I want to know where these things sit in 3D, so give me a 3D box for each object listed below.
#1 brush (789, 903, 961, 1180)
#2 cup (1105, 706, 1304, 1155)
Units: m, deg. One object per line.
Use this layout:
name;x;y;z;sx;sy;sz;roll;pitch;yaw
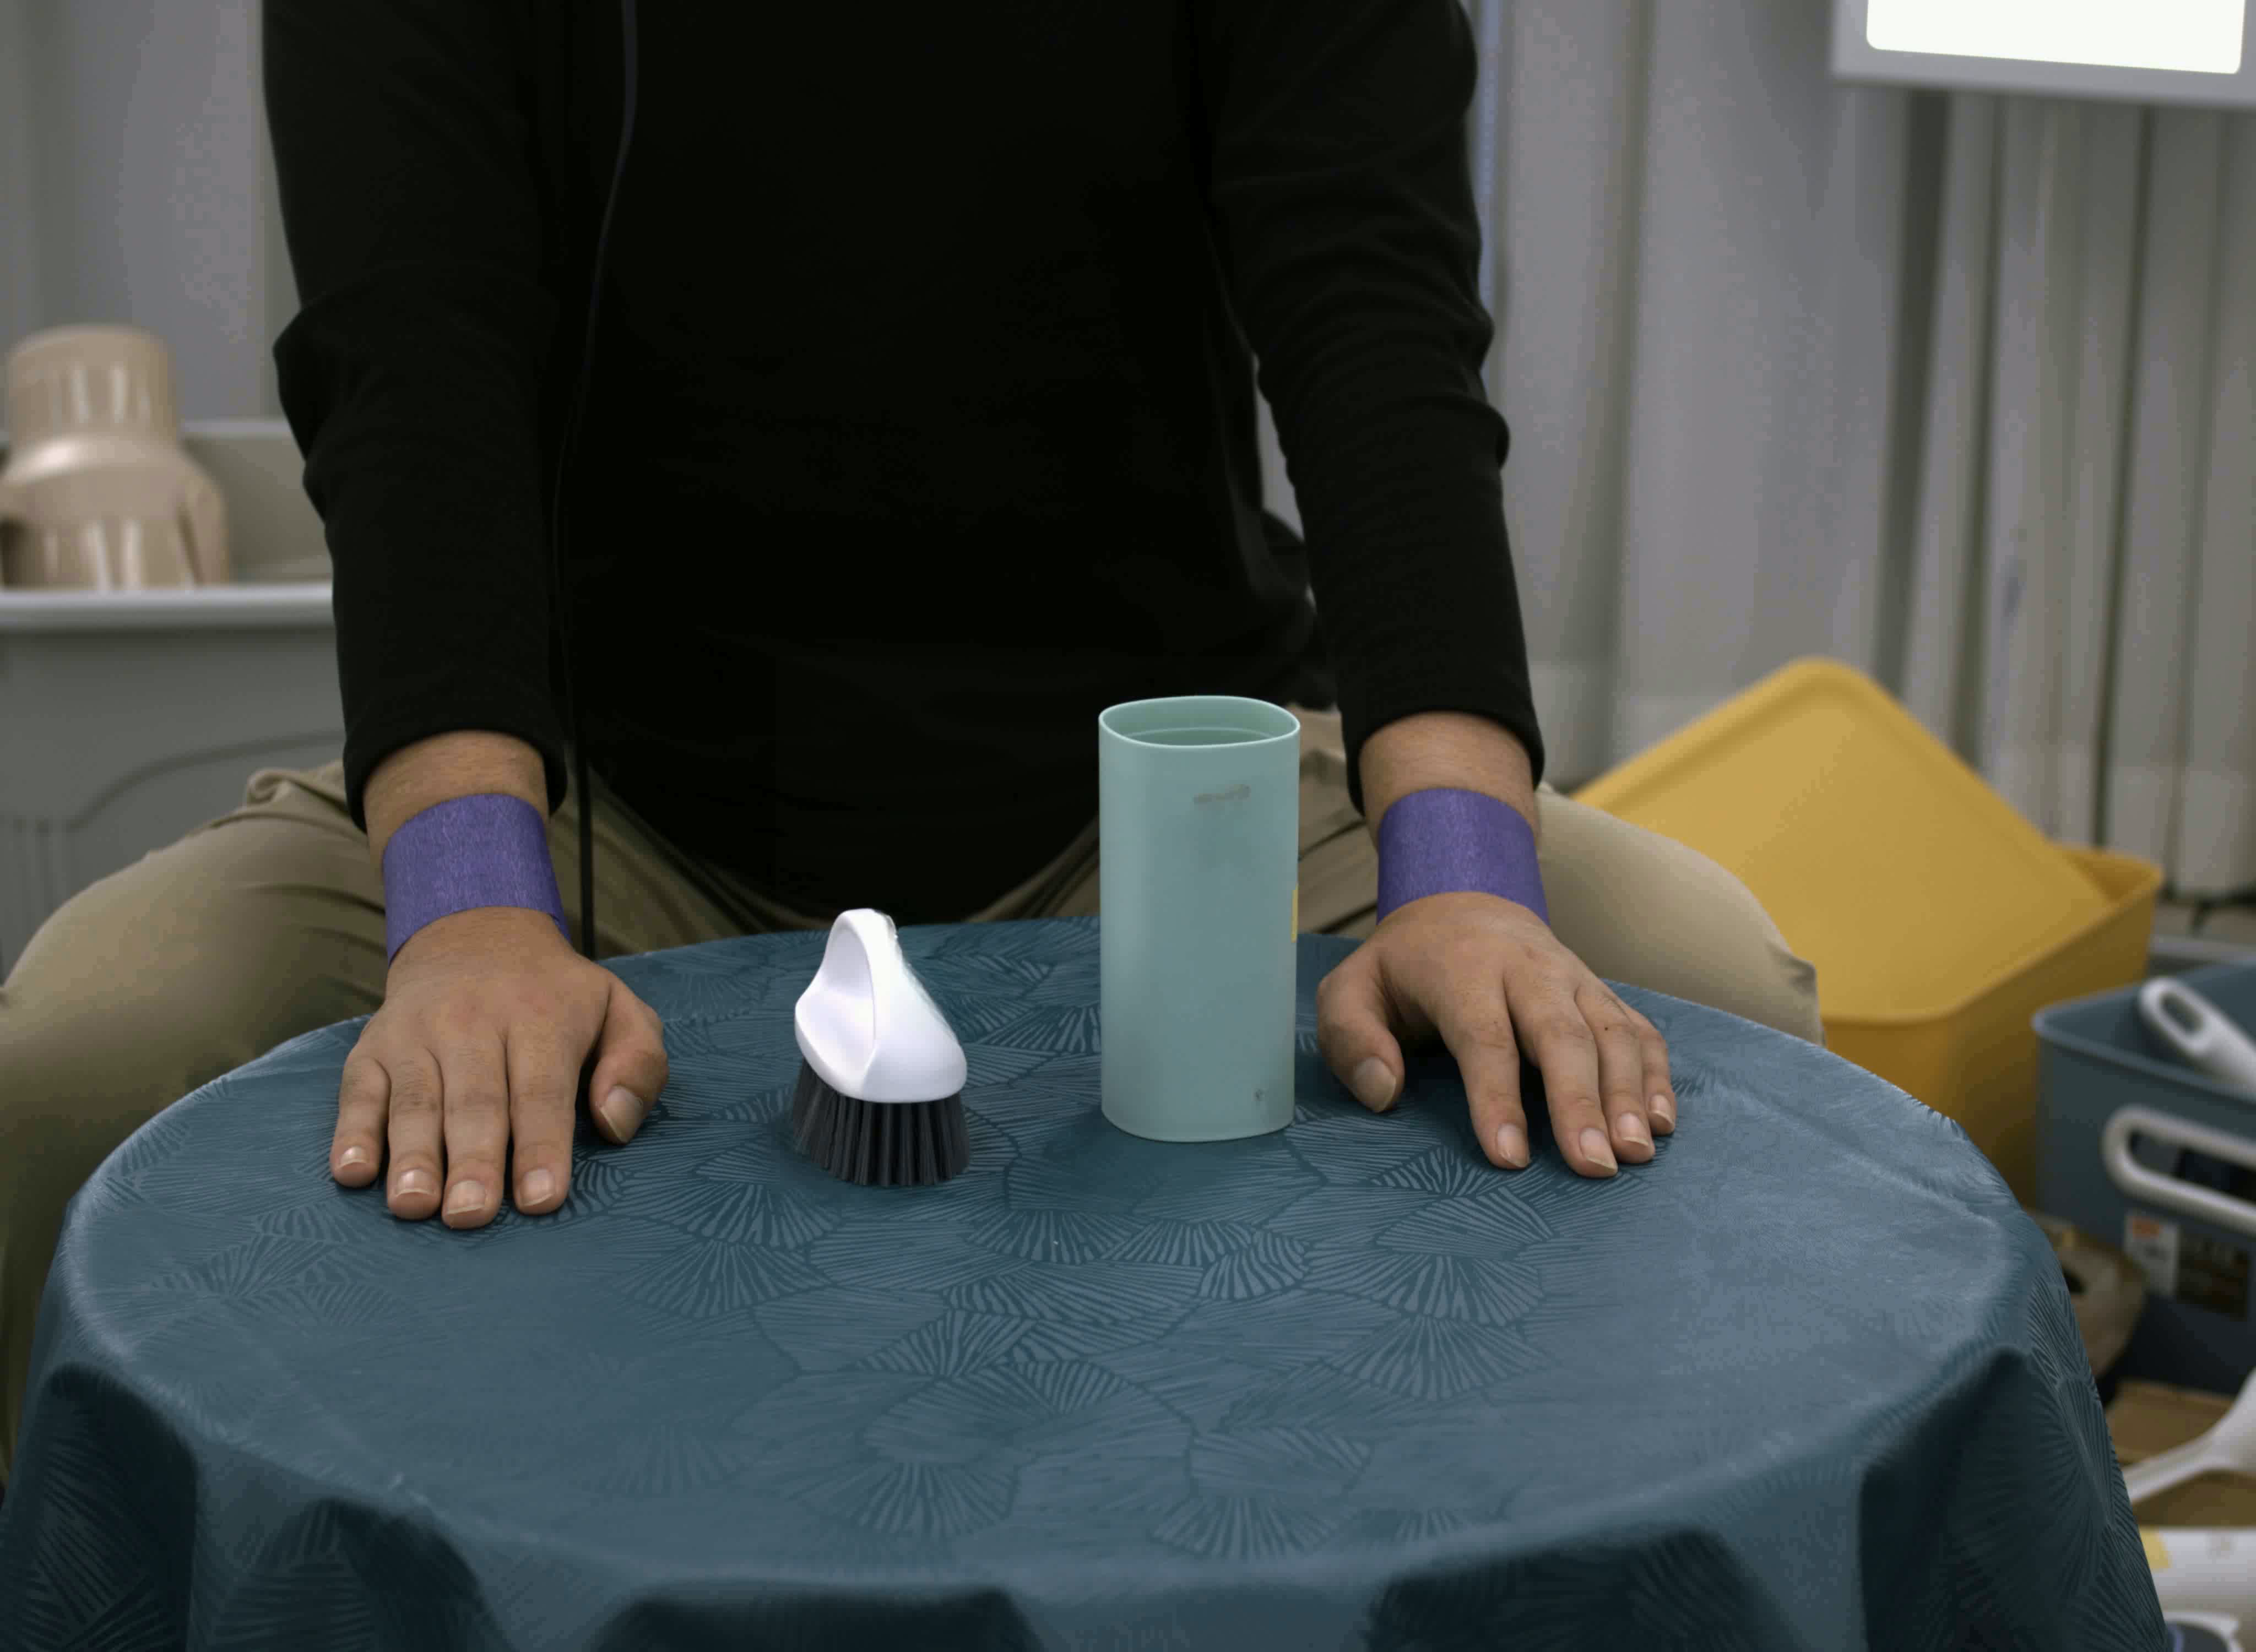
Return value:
brush;-0.080;0.063;1.658;0.050;0.073;0.098;-2;17;-12
cup;0.023;0.033;1.679;0.066;0.133;0.066;0;17;0
